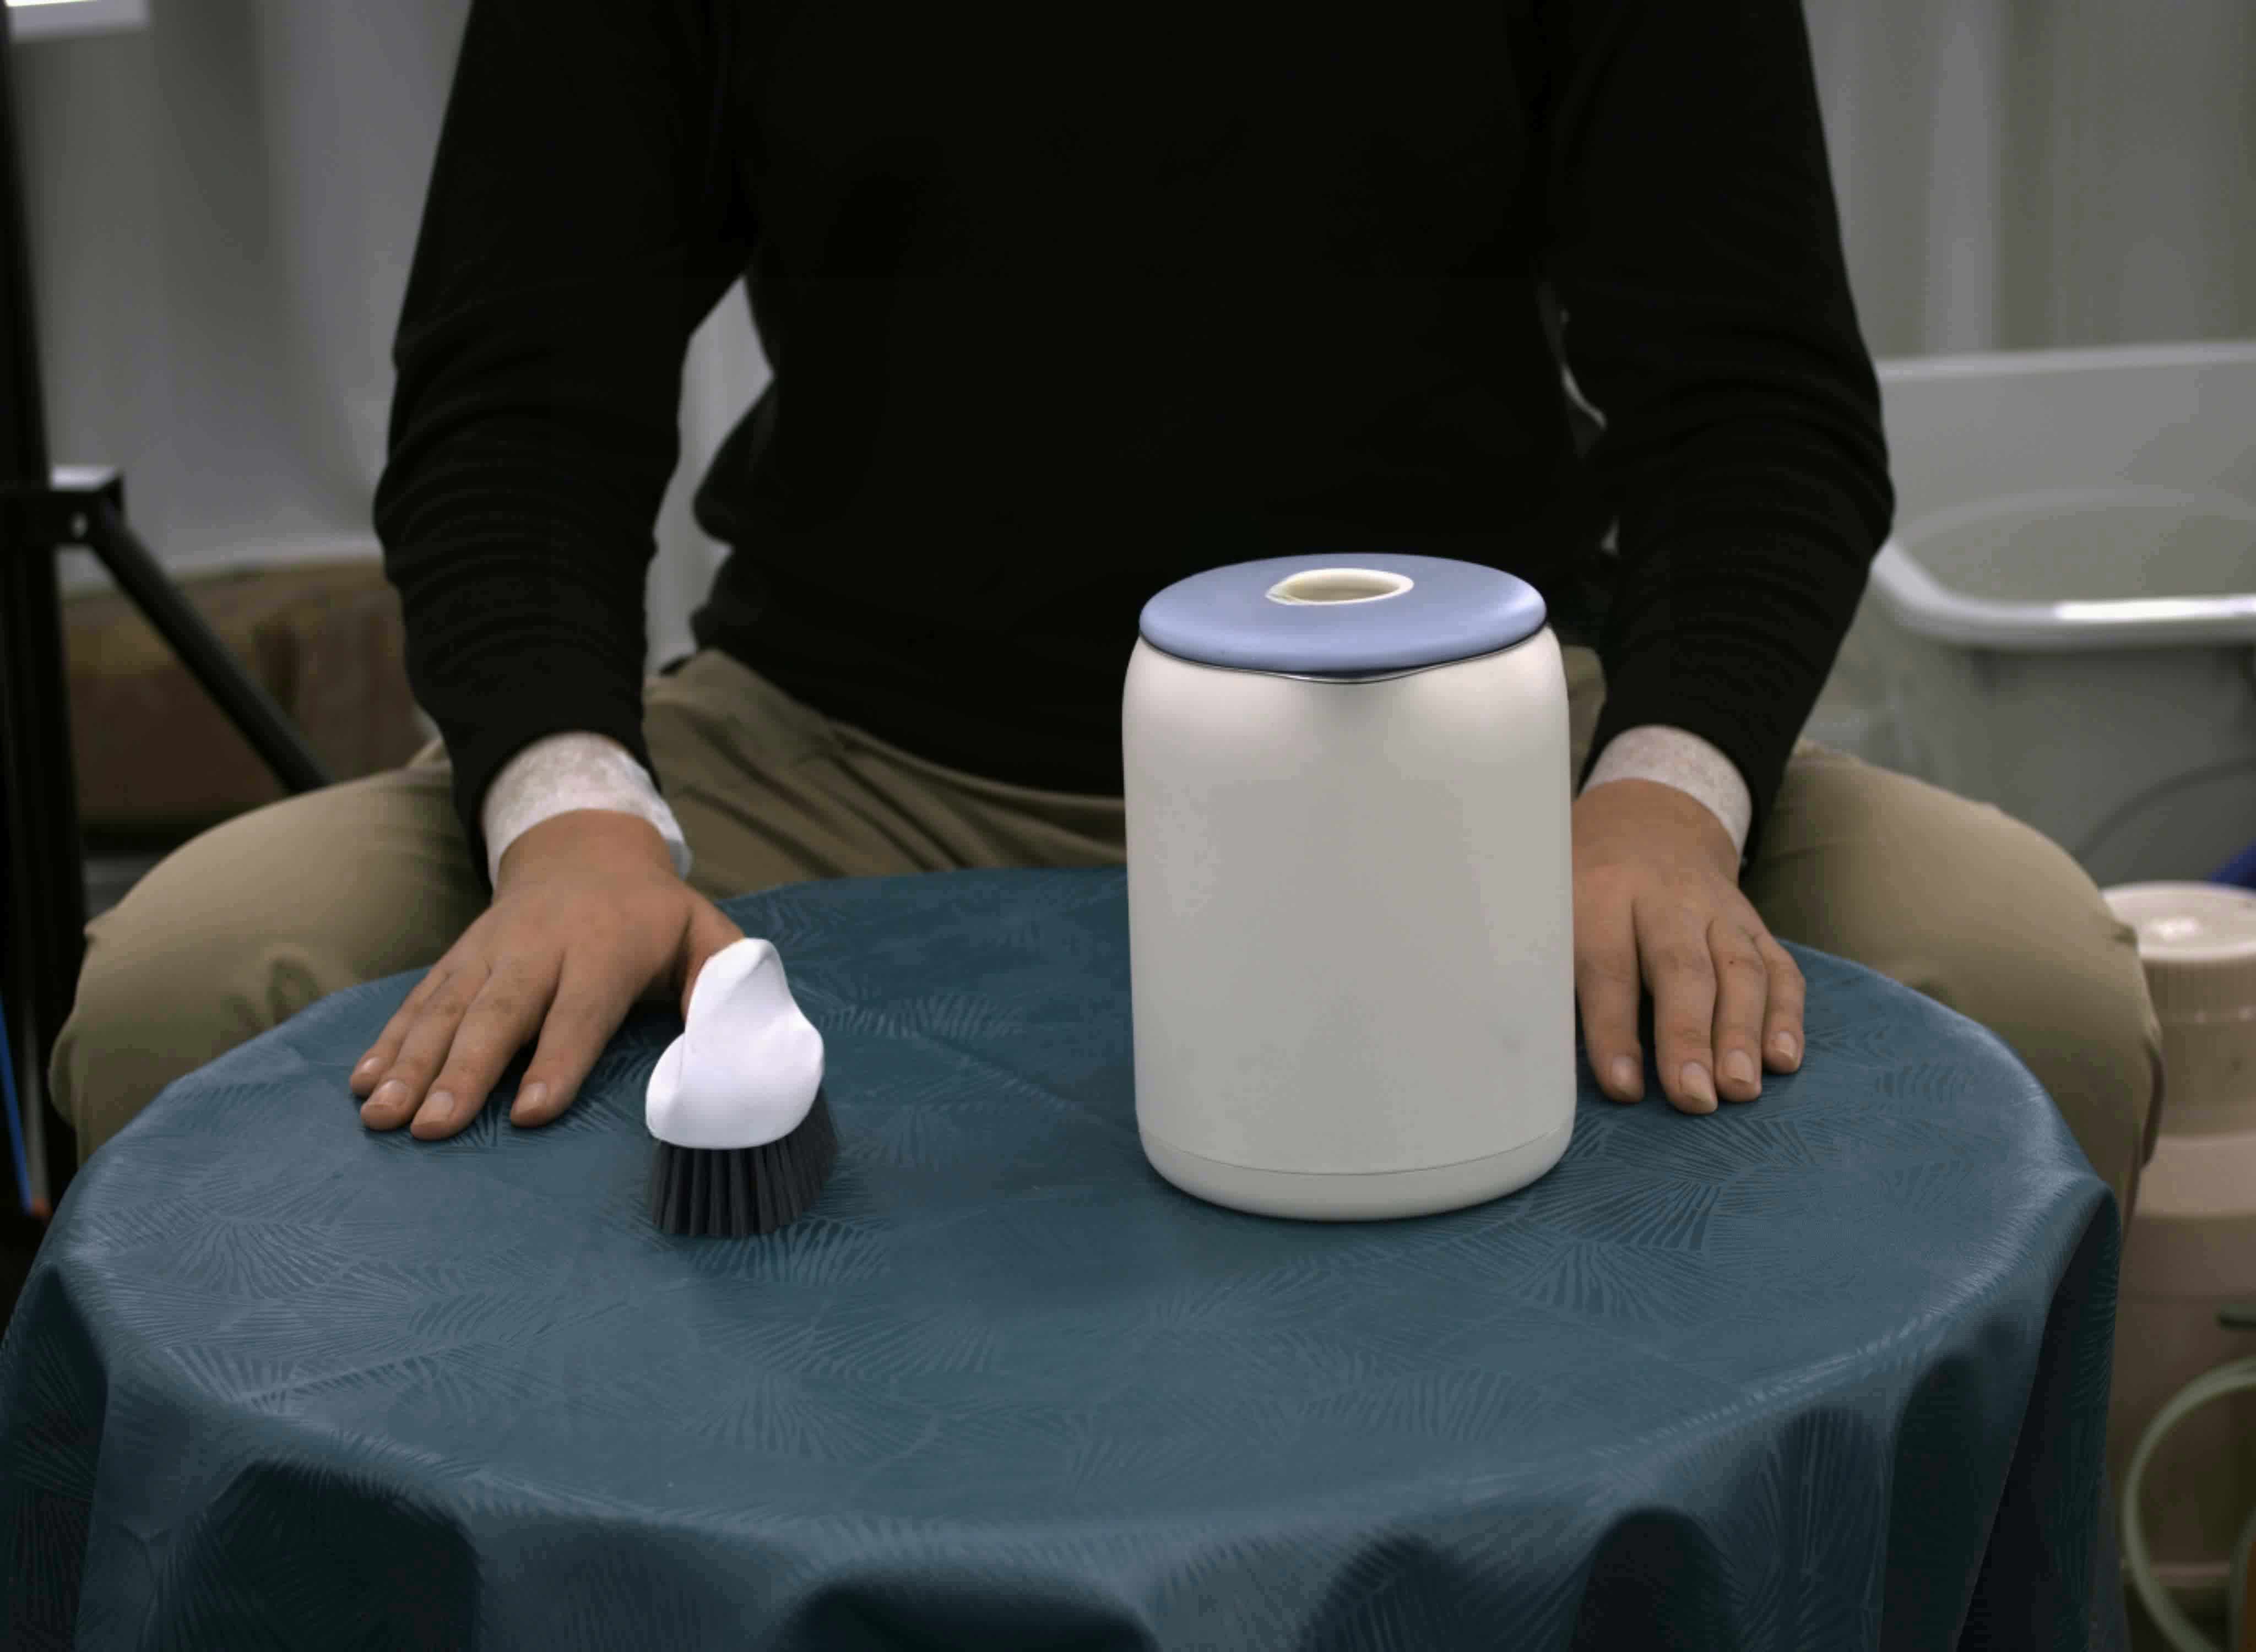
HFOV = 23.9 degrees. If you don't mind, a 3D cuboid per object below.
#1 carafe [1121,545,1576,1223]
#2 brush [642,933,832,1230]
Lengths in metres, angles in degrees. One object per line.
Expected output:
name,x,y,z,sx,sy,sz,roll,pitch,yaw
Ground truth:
carafe,0.064,0.010,1.581,0.131,0.182,0.192,-2,14,-1
brush,-0.116,0.070,1.575,0.050,0.072,0.099,0,16,7
